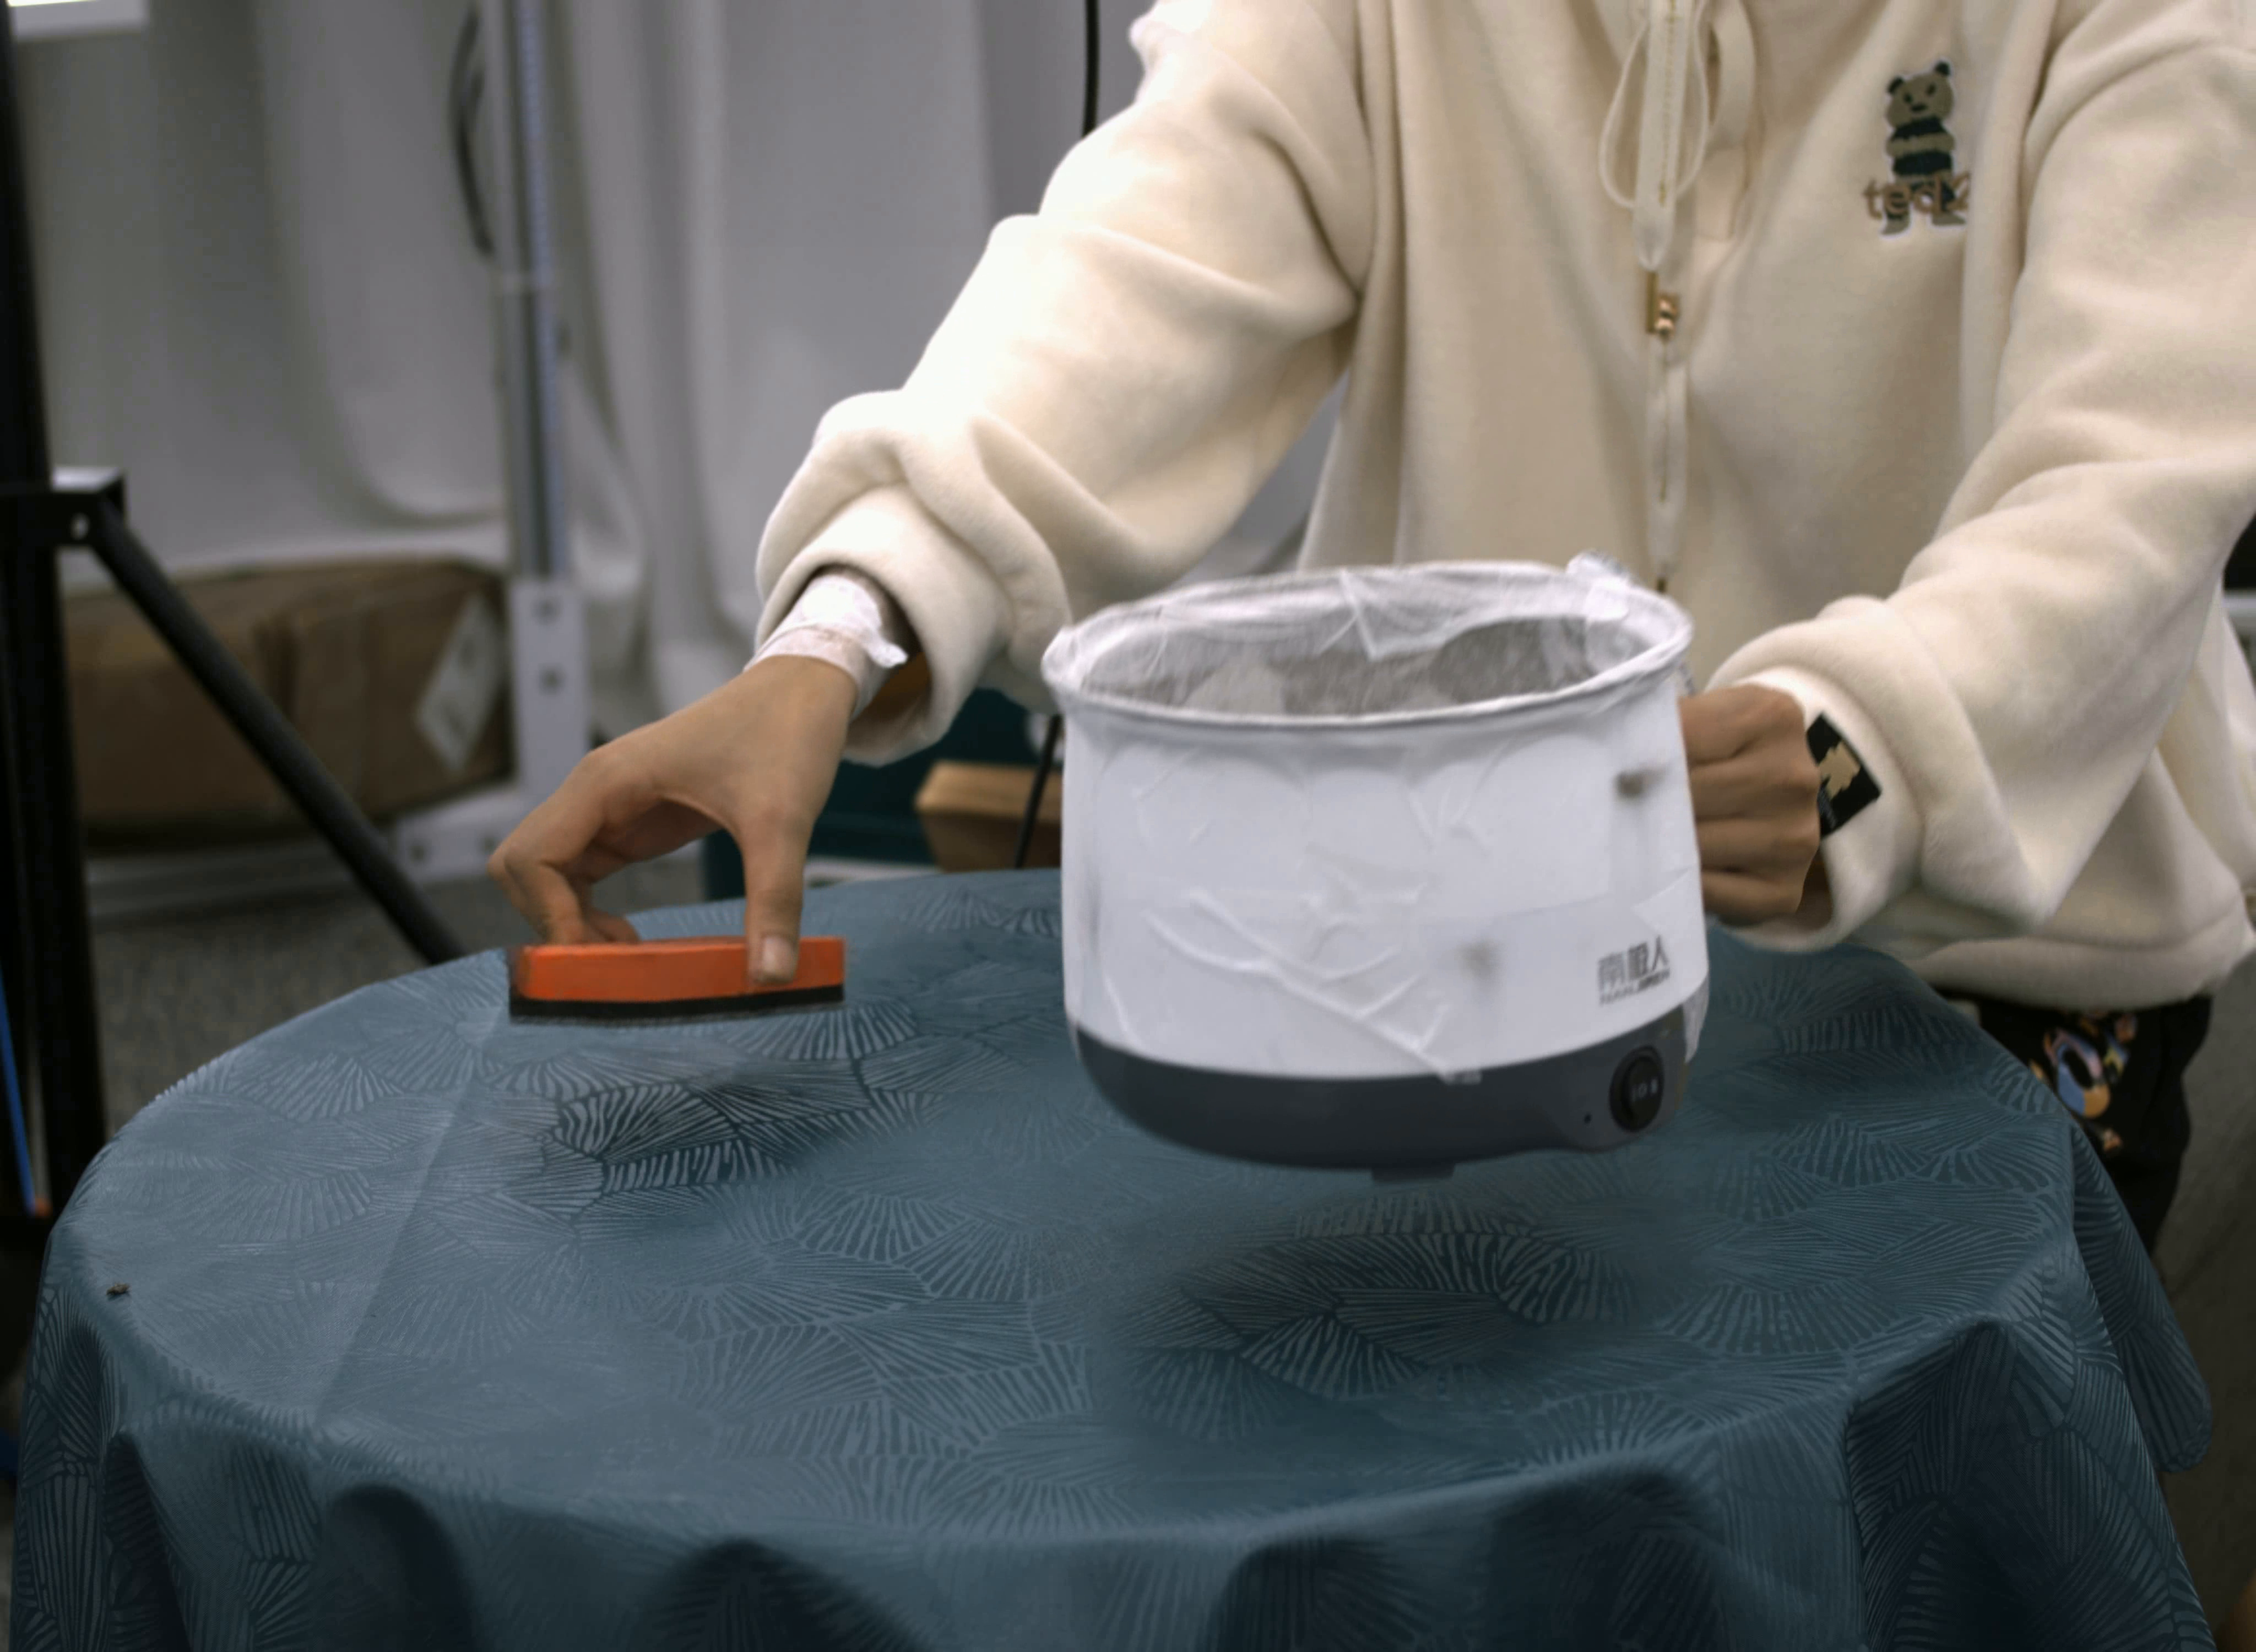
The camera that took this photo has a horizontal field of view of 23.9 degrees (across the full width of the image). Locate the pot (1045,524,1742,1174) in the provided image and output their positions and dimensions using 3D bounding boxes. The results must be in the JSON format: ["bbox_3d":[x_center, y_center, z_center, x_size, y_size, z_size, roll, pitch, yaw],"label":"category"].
[{"bbox_3d":[0.088,-0.001,1.460,0.182,0.136,0.229,10,22,41],"label":"pot"}]

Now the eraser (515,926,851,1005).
[{"bbox_3d":[-0.135,0.042,1.627,0.060,0.023,0.105,-2,-2,35],"label":"eraser"}]
